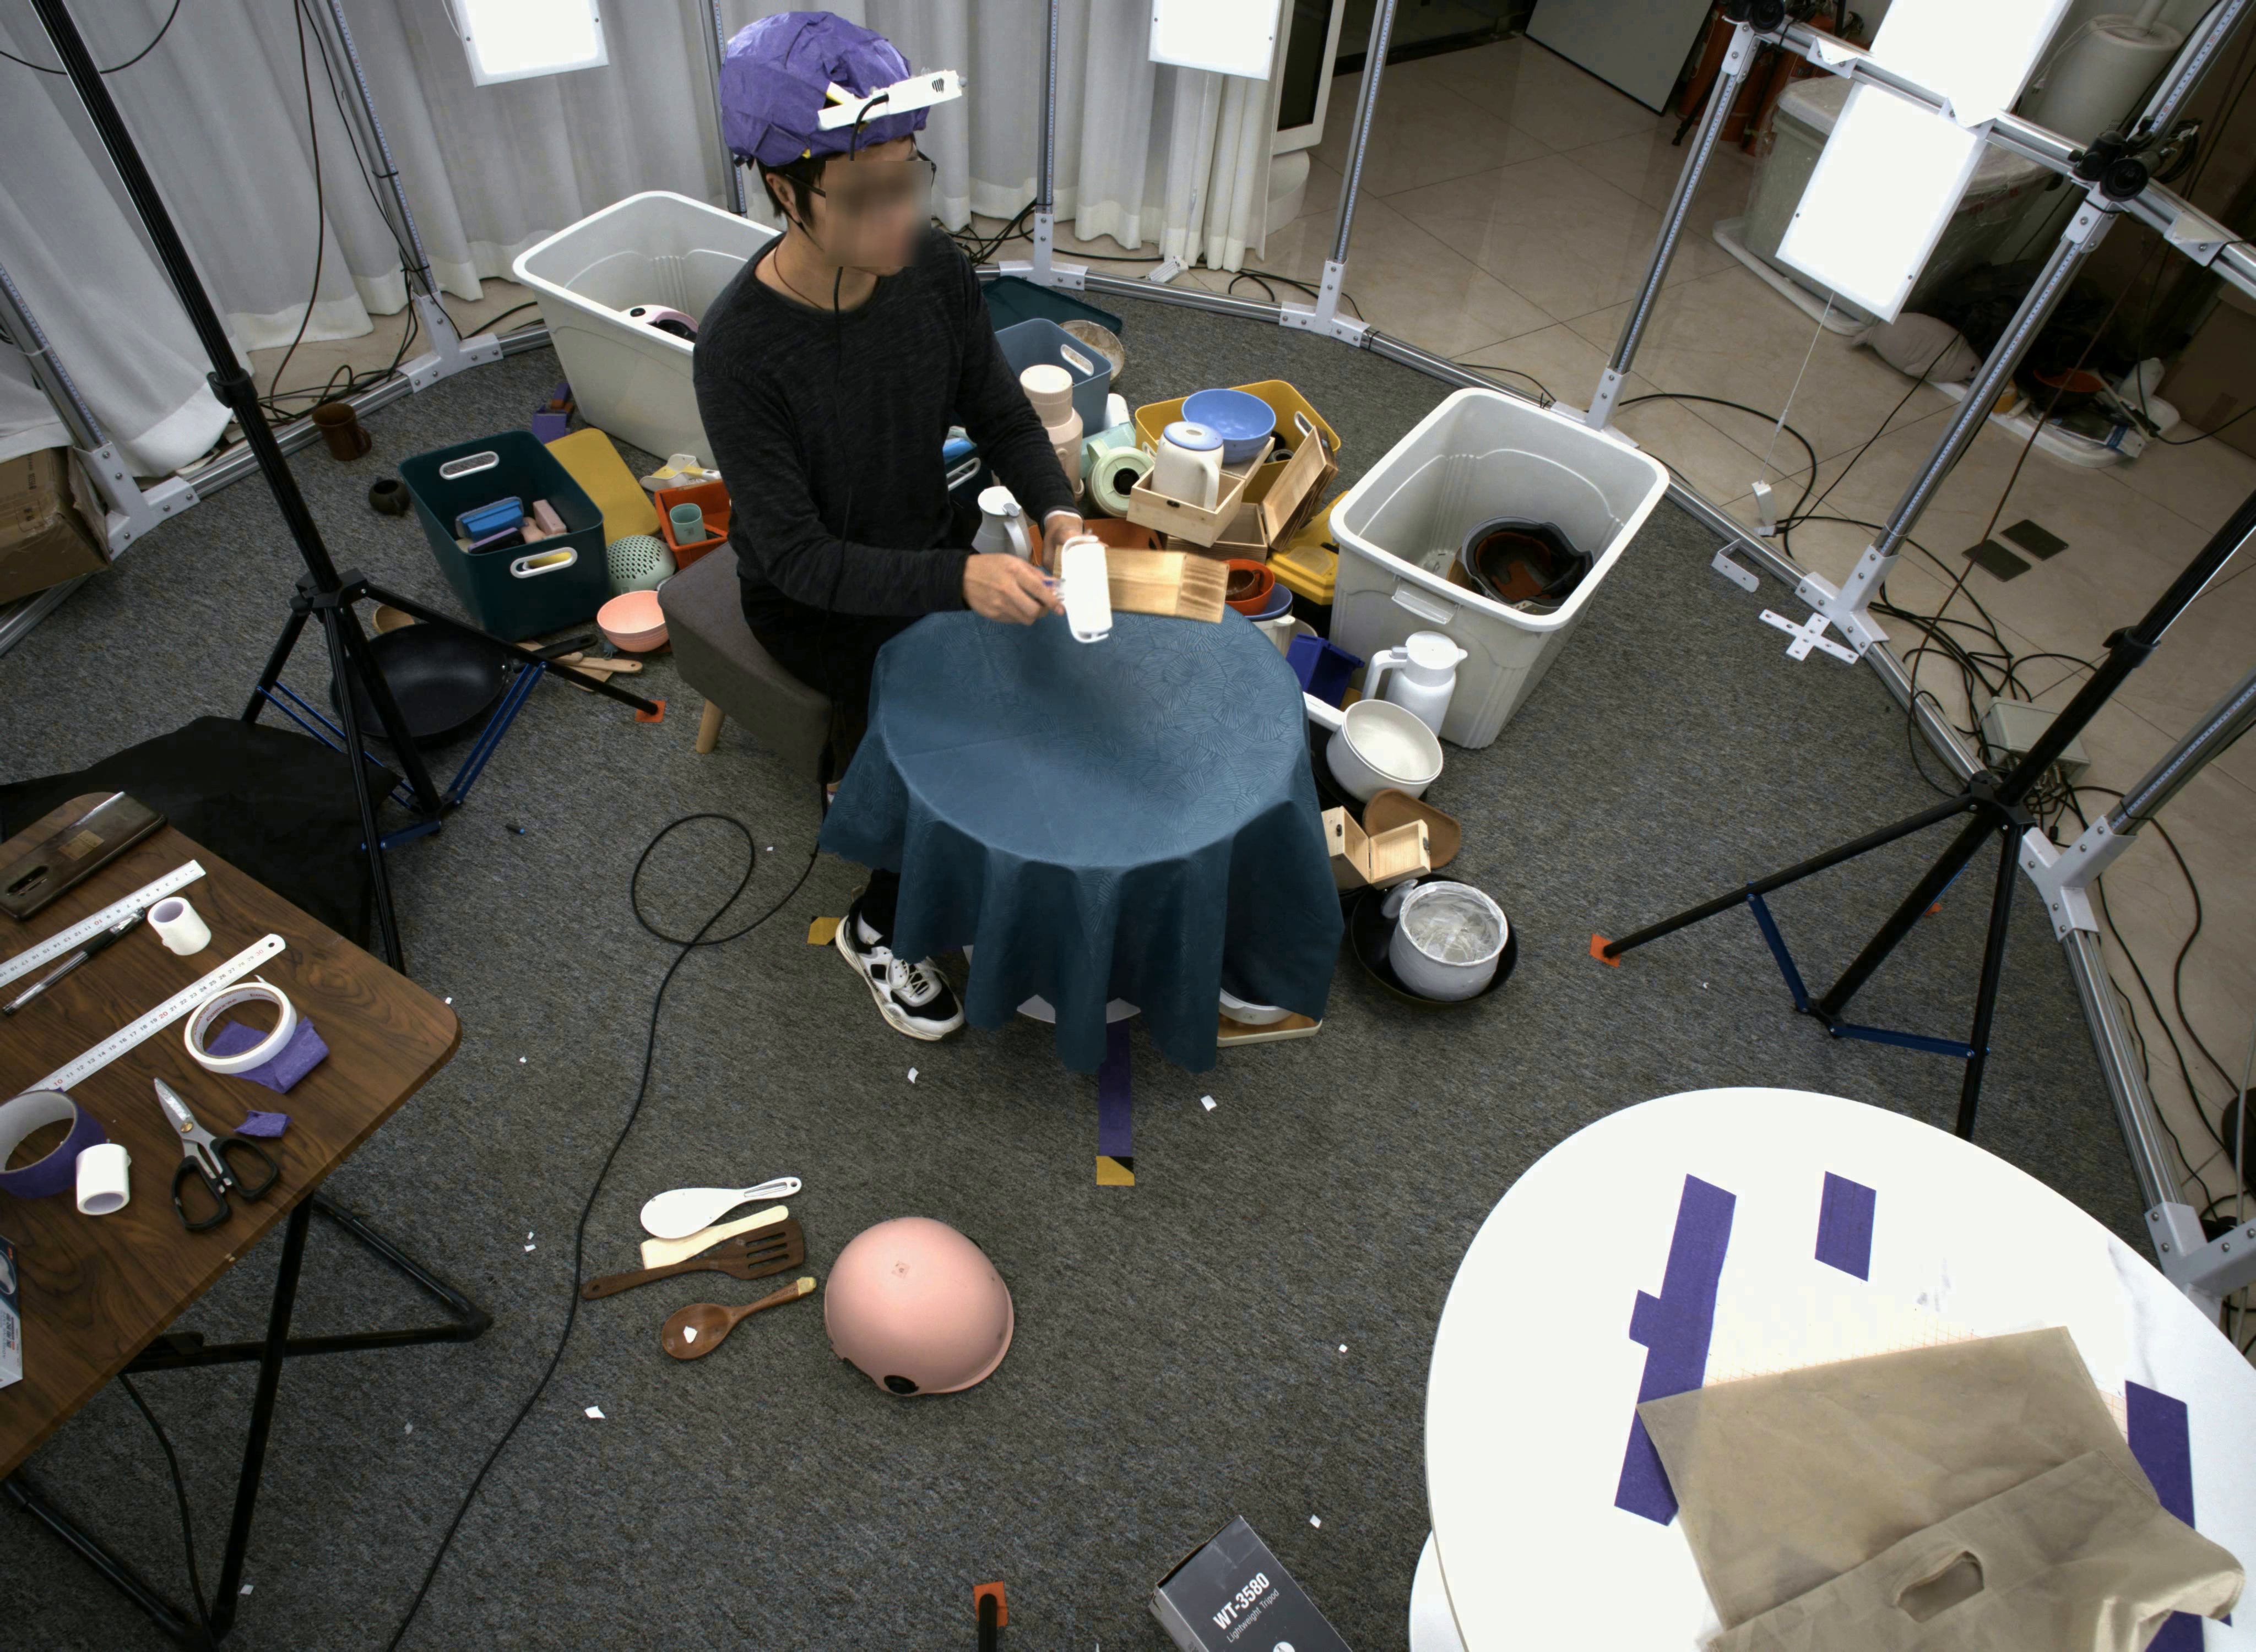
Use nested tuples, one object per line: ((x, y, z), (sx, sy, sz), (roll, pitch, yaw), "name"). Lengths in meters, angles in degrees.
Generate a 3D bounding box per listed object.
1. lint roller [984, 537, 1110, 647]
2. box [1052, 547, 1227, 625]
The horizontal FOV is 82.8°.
((-0.111, -0.291, 1.622), (0.181, 0.131, 0.050), (0, 15, 24), "lint roller")
((0.012, -0.318, 1.704), (0.213, 0.080, 0.107), (13, 9, 37), "box")
